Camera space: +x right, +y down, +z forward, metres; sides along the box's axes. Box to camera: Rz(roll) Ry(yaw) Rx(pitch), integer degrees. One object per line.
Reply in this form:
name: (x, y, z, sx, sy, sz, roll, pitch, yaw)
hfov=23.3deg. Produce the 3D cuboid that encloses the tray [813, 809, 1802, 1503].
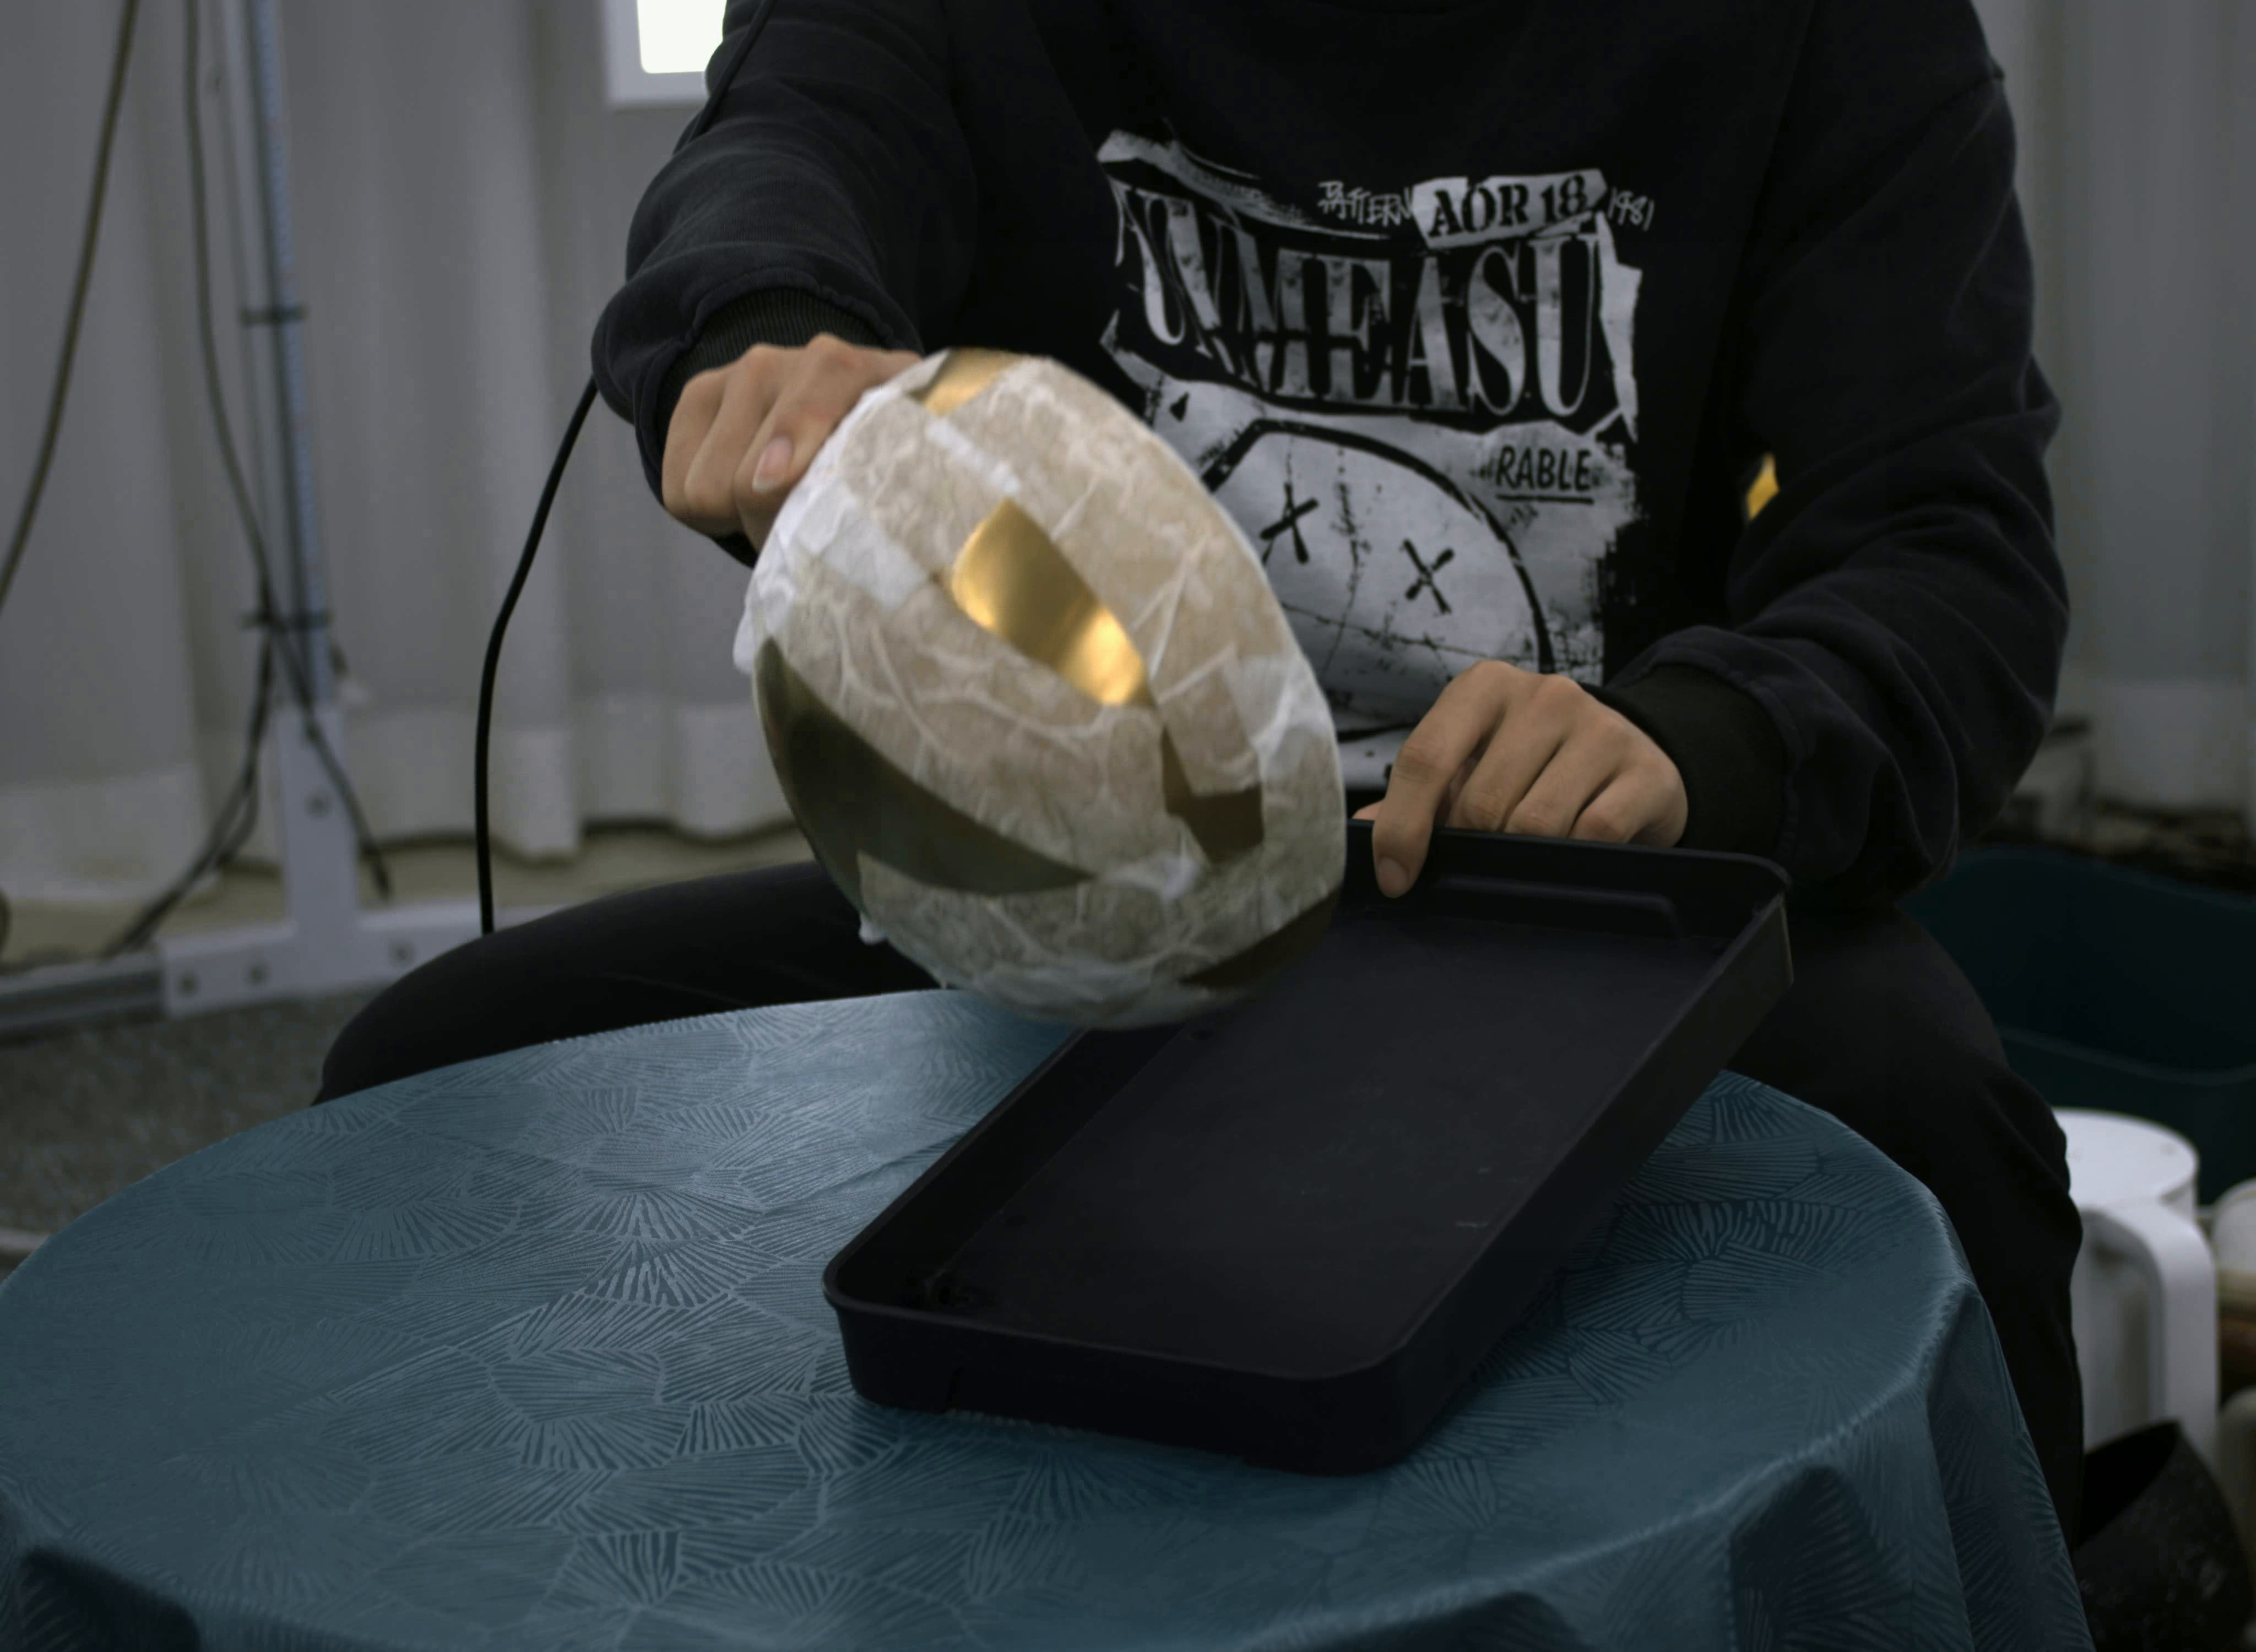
tray: (0.061, 0.089, 1.623, 0.185, 0.037, 0.320, 8, 31, 30)

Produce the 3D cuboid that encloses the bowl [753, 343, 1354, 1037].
bowl: (-0.039, -0.020, 1.514, 0.095, 0.213, 0.216, -31, 28, -28)
